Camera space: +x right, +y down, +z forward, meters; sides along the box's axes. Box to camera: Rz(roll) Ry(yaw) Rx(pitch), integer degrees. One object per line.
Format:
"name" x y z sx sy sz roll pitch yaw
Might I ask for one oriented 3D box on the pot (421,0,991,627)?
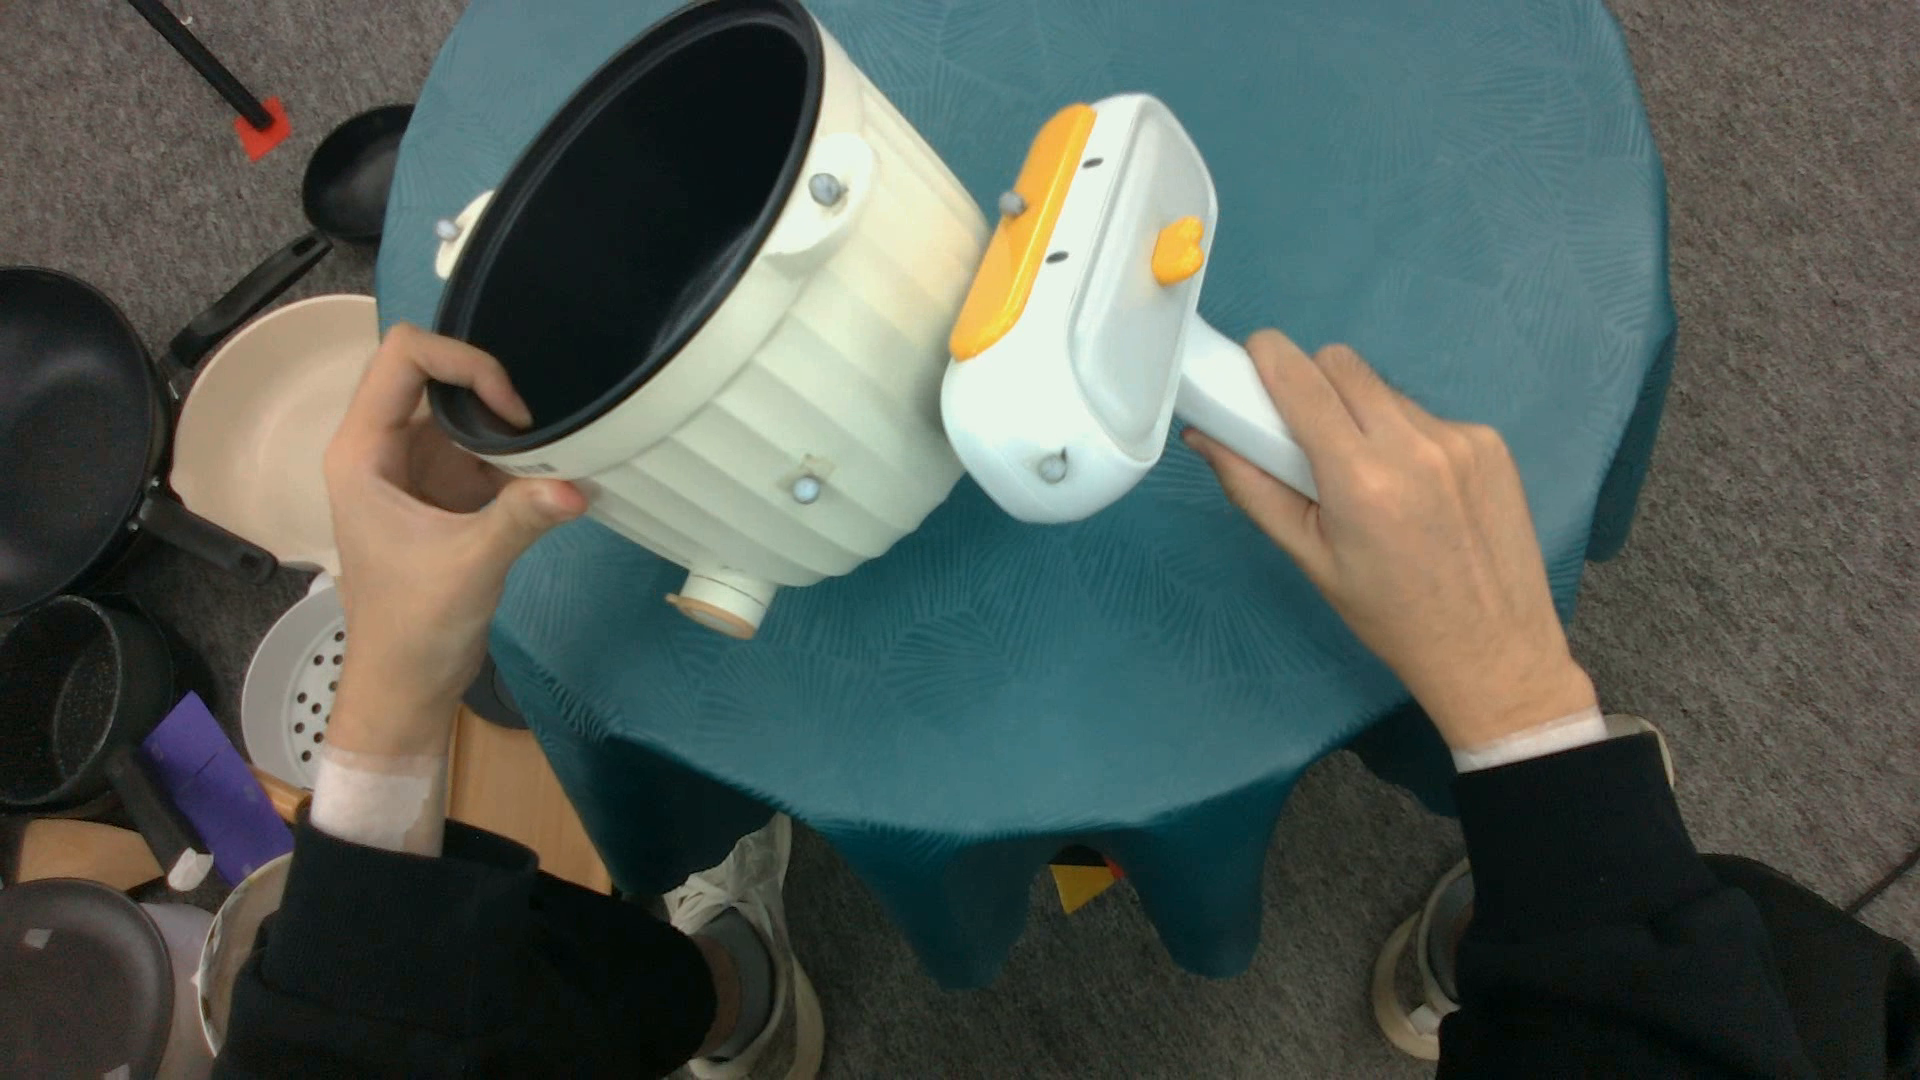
"pot" -0.079 -0.077 0.494 0.240 0.142 0.191 6 65 43

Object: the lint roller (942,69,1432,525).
"lint roller" 0.087 -0.060 0.481 0.074 0.192 0.194 -33 31 35
